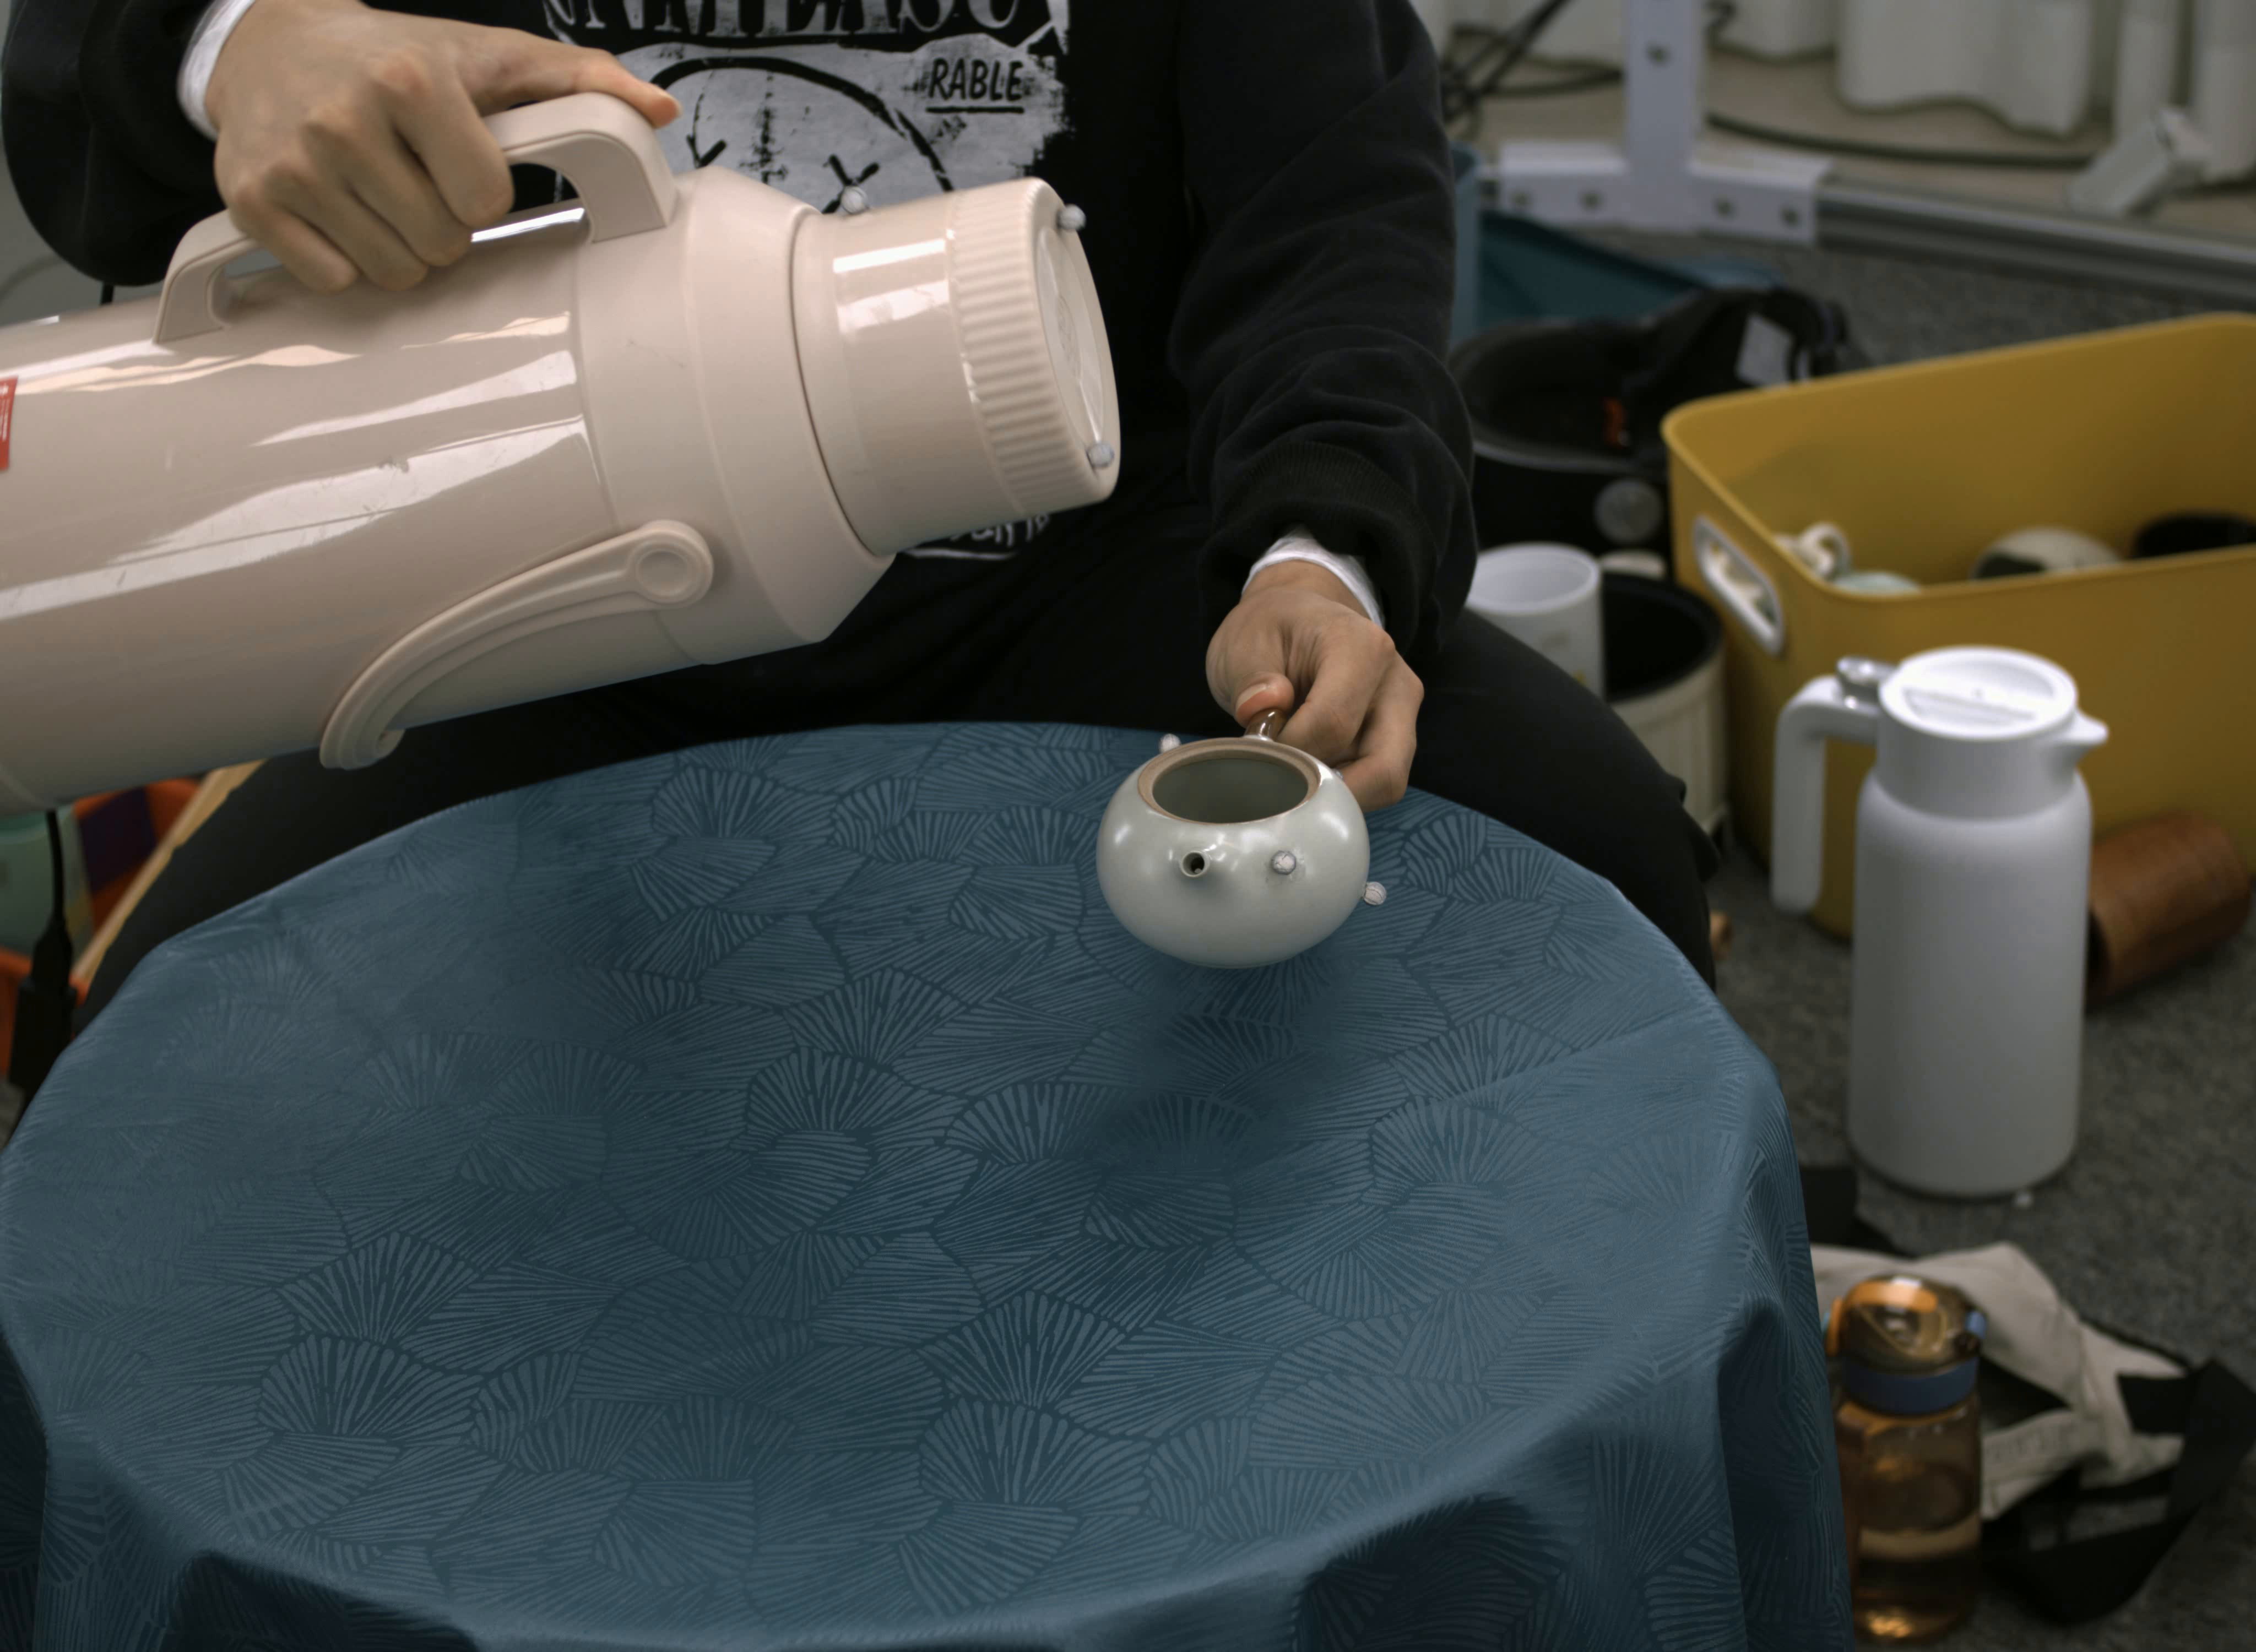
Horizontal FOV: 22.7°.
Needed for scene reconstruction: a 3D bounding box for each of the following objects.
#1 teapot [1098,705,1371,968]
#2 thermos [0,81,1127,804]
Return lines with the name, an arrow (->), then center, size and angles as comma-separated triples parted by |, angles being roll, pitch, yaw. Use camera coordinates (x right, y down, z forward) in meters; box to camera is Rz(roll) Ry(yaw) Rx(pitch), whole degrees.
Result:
teapot -> 0.038, 0.004, 1.884 | 0.091, 0.059, 0.130 | 1, 28, 13
thermos -> -0.211, -0.131, 1.814 | 0.403, 0.204, 0.179 | -10, 35, 12
